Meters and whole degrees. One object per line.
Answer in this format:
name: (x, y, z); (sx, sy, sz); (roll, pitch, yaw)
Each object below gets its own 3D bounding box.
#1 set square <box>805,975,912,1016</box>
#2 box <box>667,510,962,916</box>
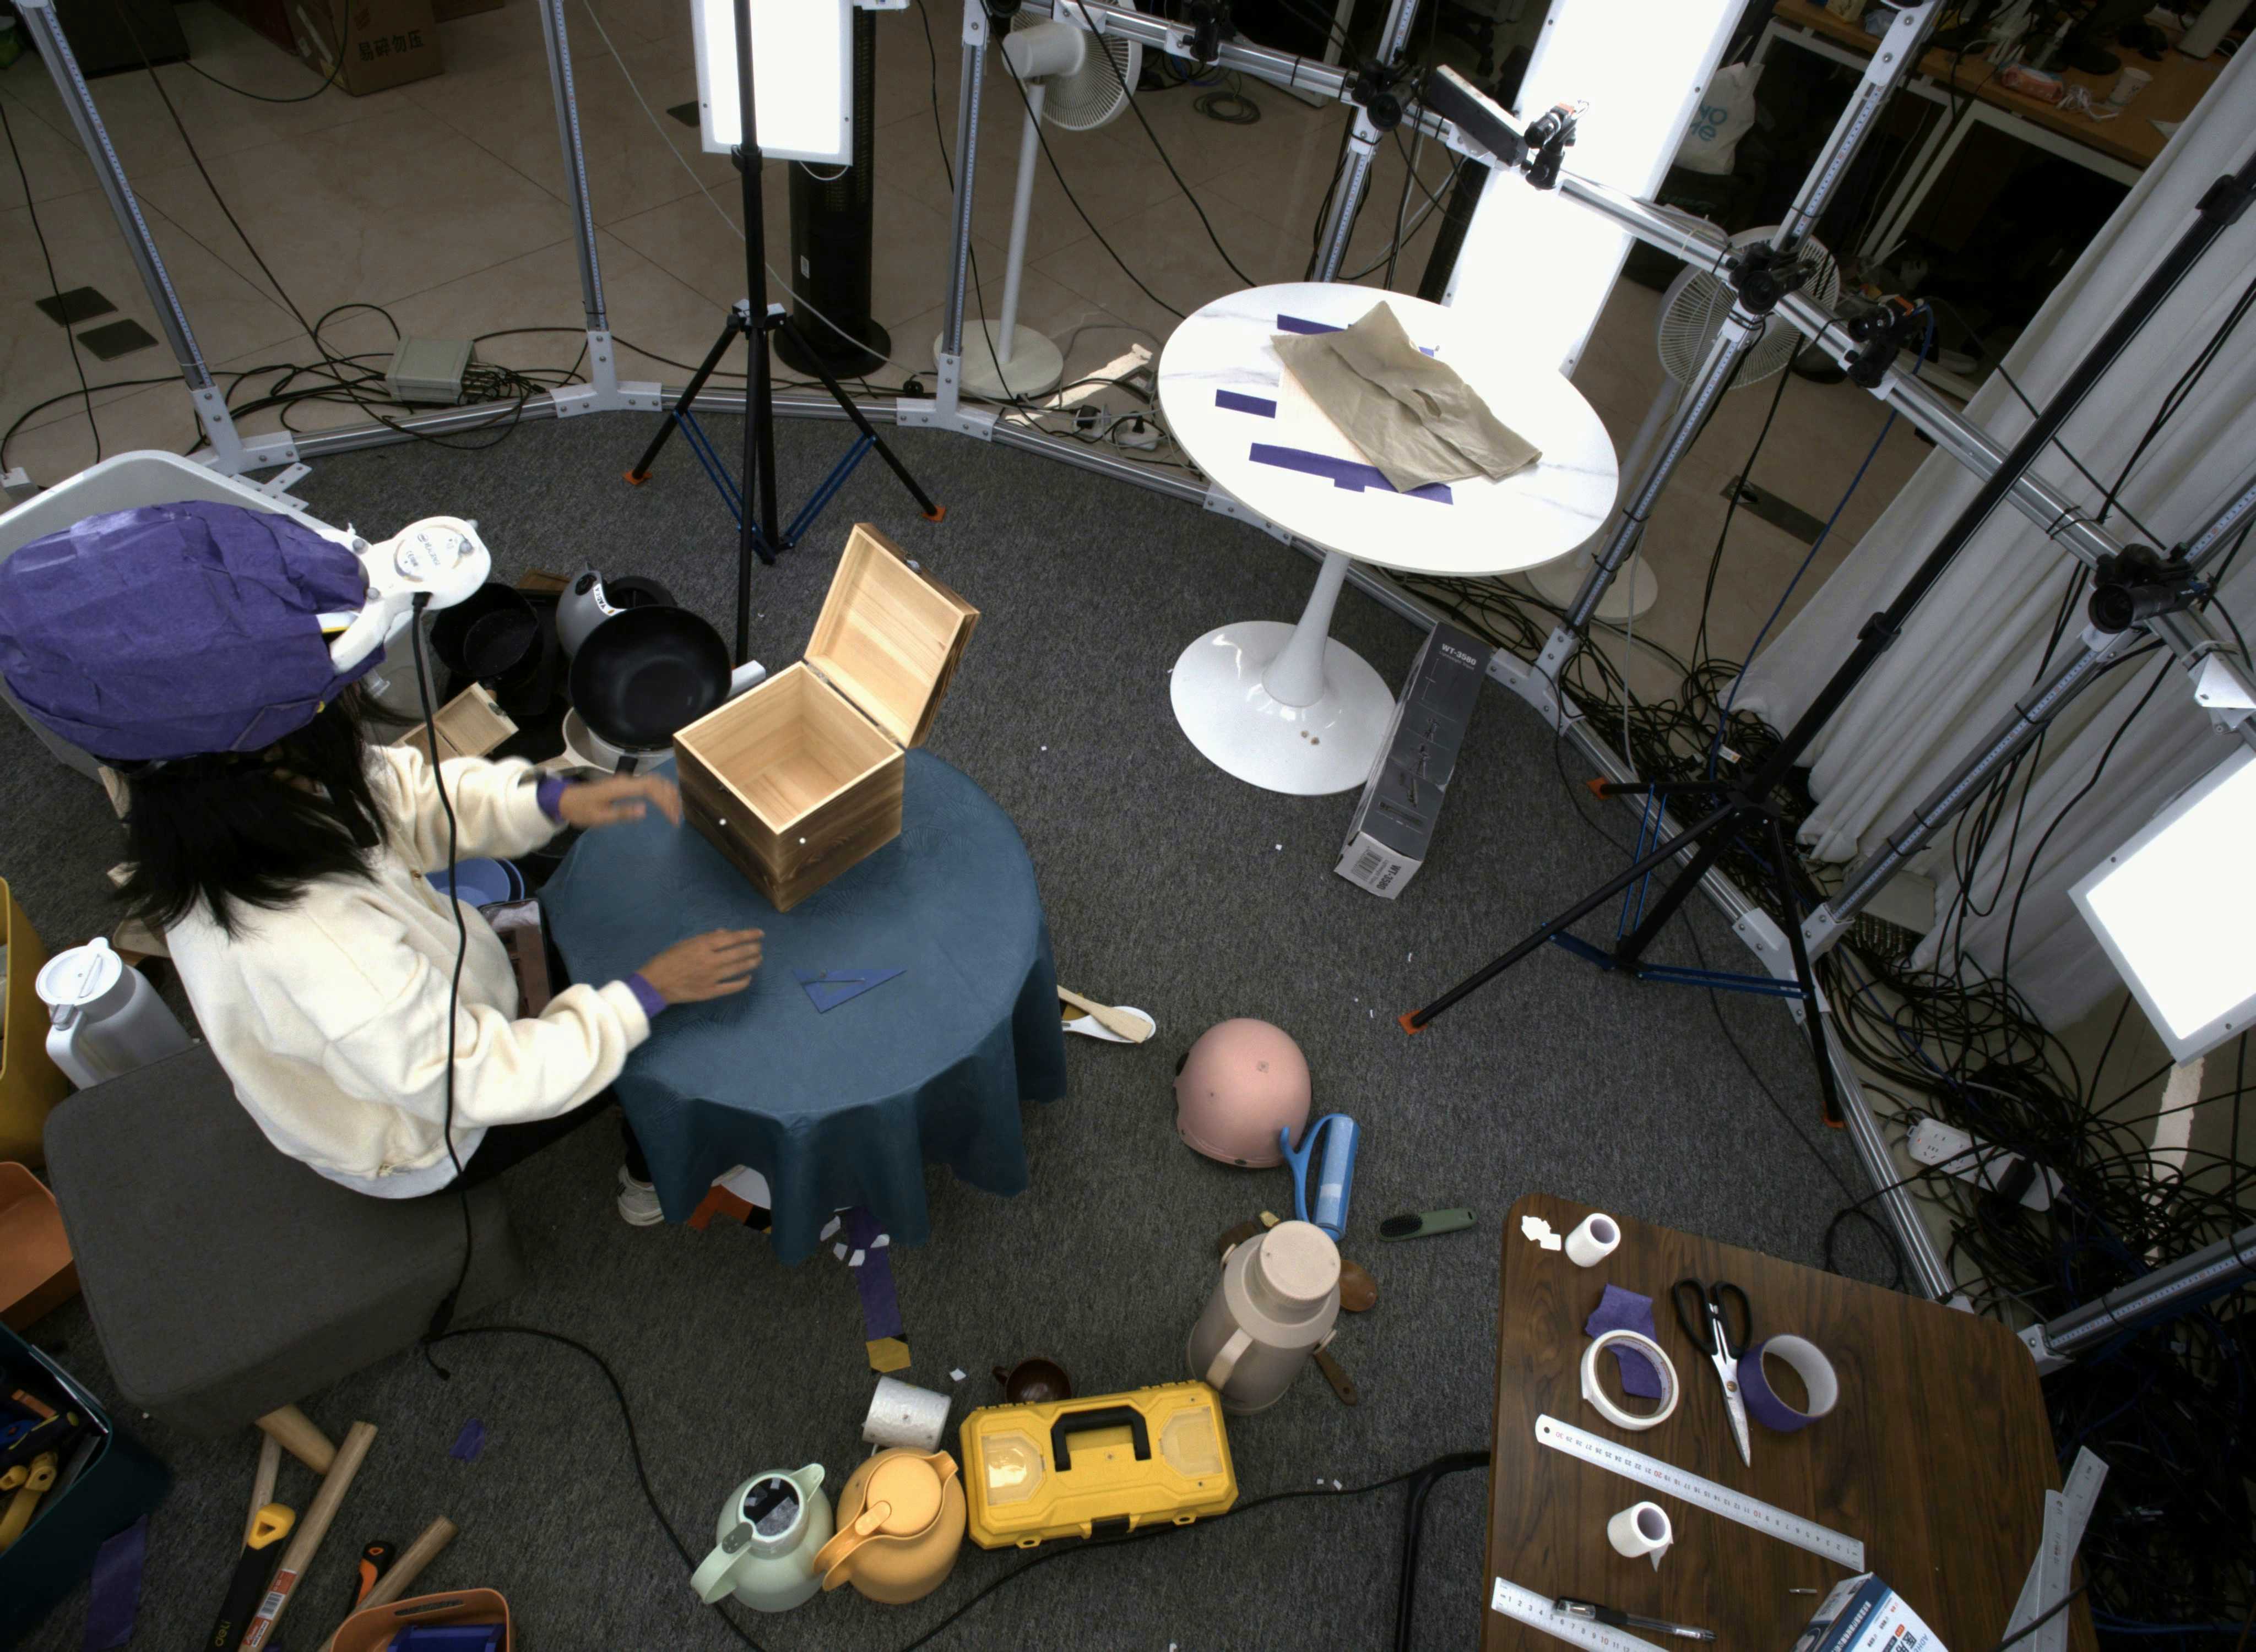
set square: (-0.331, 0.204, 1.587); (0.132, 0.007, 0.060); (3, 50, -12)
box: (-0.386, -0.141, 1.603); (0.204, 0.384, 0.322); (38, 53, 18)
